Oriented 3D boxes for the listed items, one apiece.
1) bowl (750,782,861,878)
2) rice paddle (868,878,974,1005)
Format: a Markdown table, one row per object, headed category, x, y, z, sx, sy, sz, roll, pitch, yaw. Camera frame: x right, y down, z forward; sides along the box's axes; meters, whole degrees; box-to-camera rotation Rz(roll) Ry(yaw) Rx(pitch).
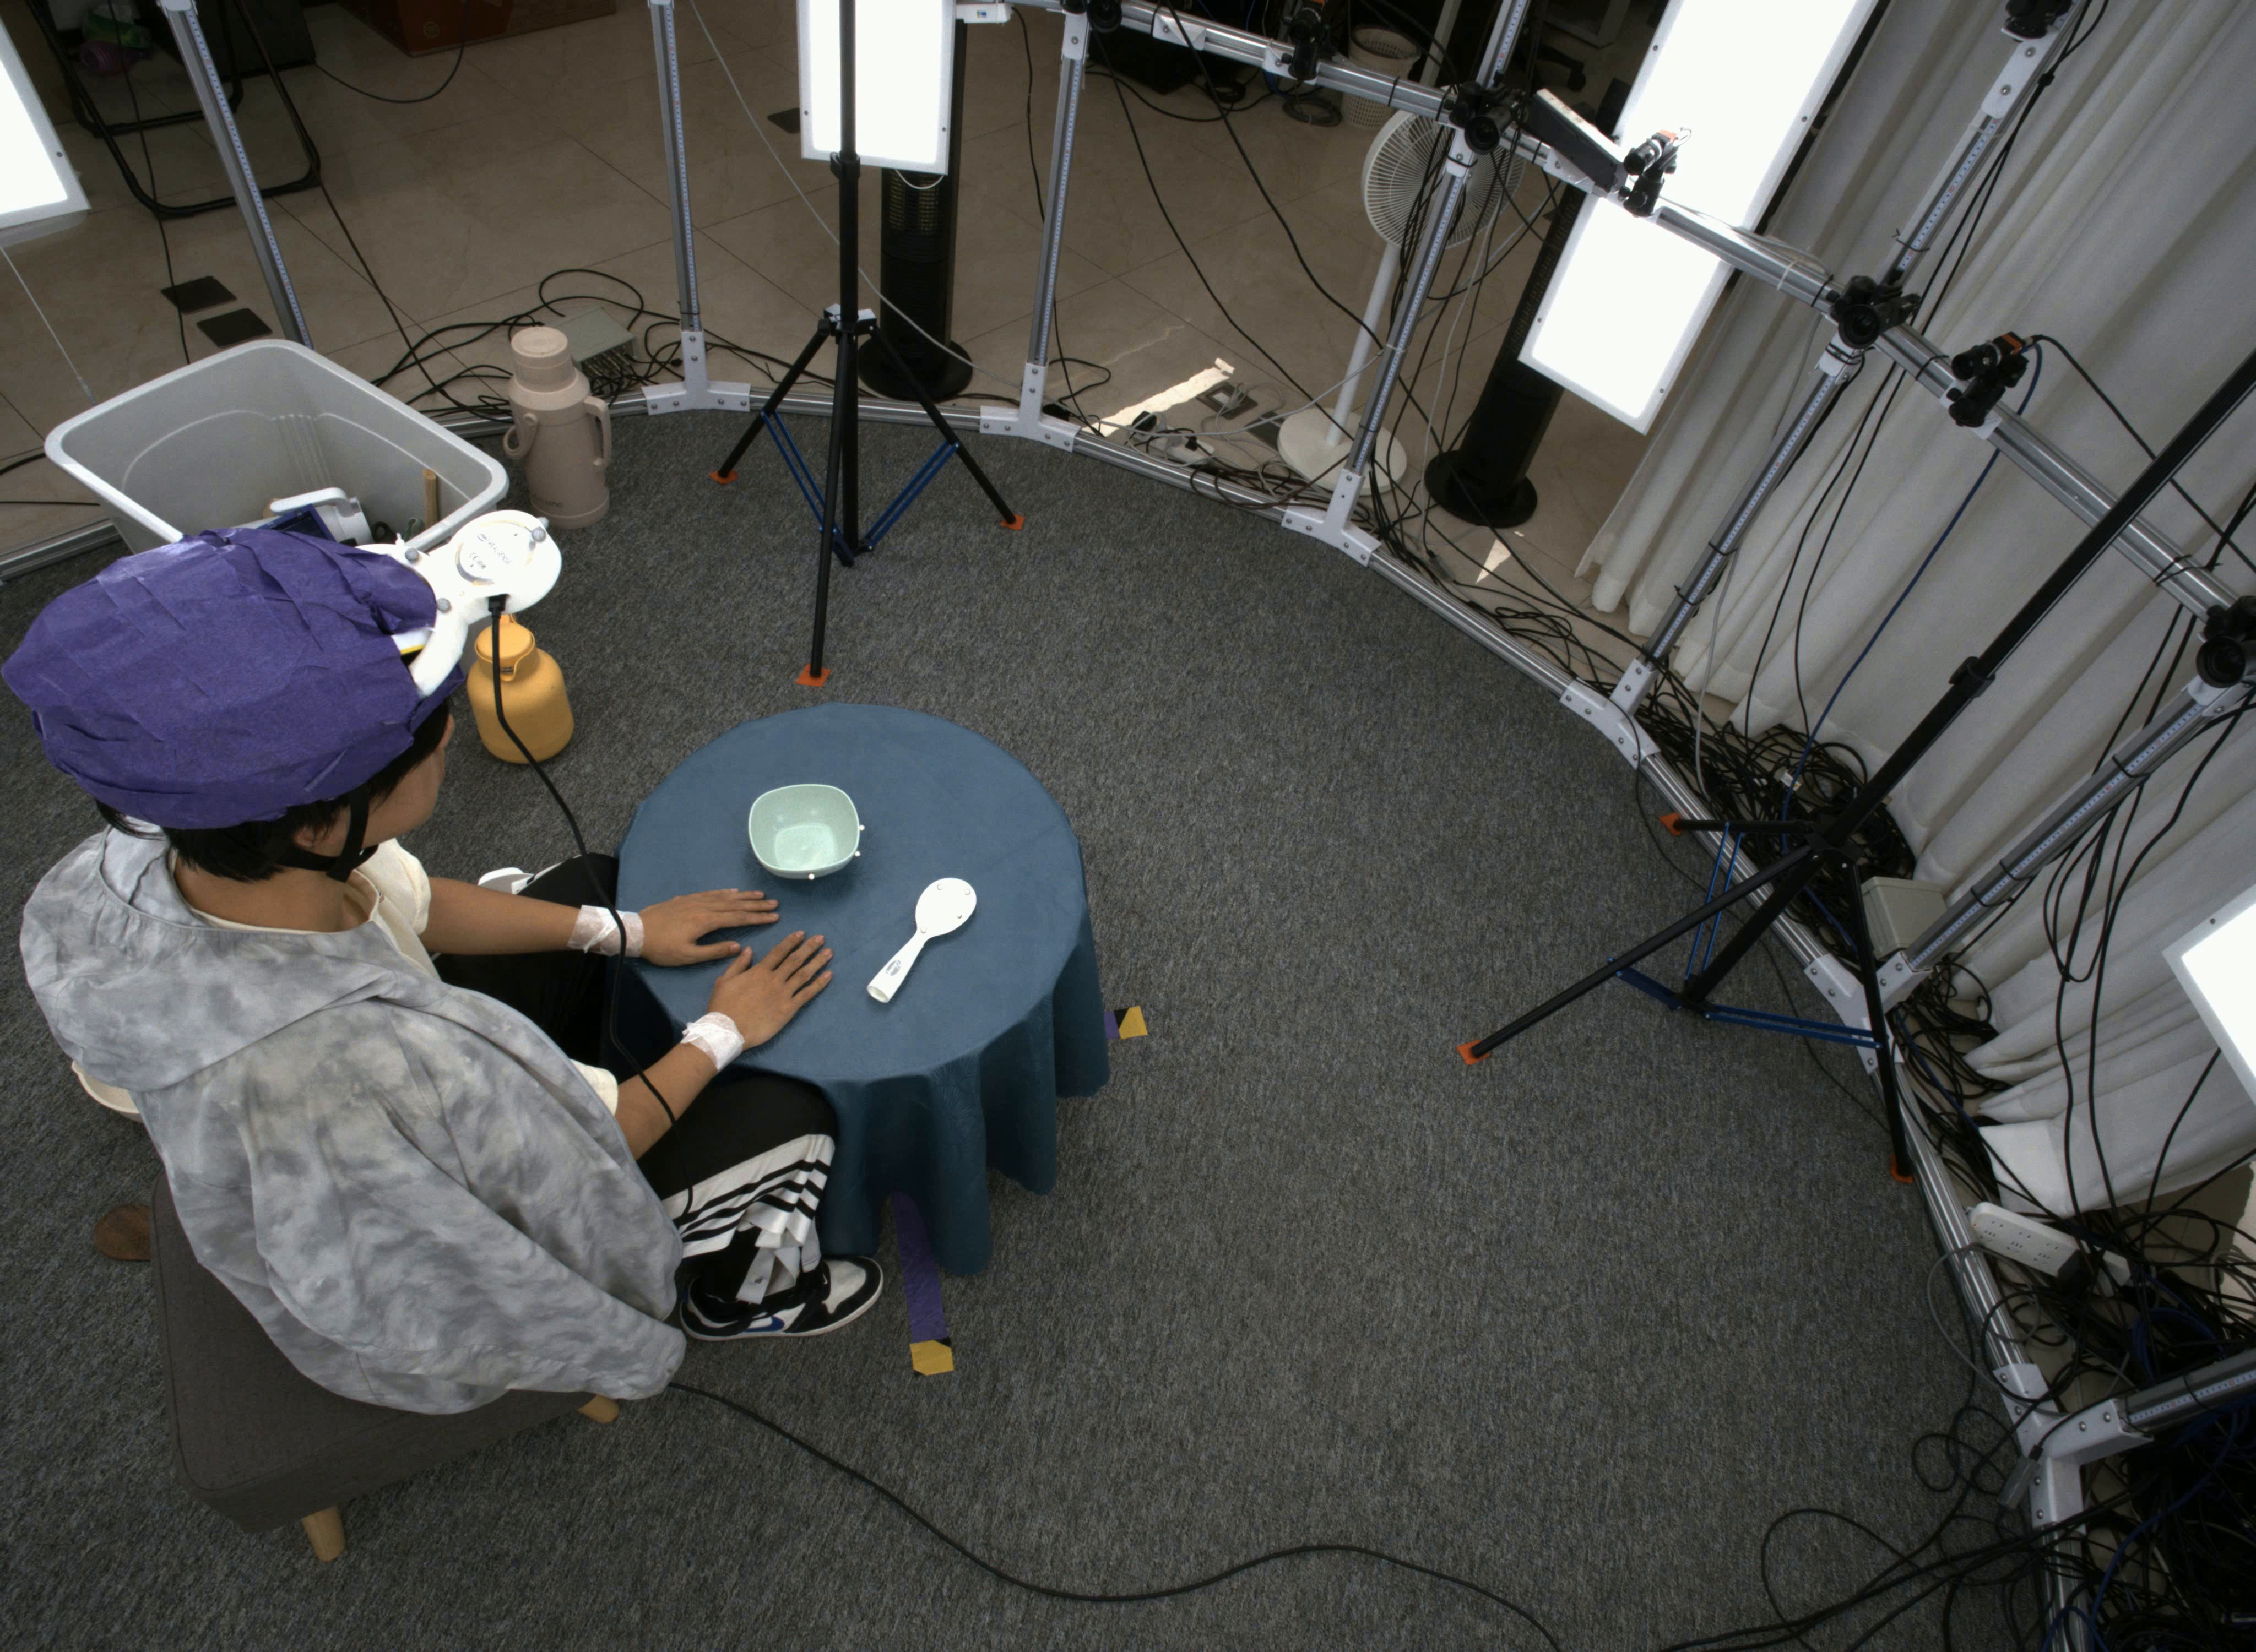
| category | x | y | z | sx | sy | sz | roll | pitch | yaw |
| --- | --- | --- | --- | --- | --- | --- | --- | --- | --- |
| bowl | -0.417 | 0.015 | 1.678 | 0.151 | 0.059 | 0.149 | 9 | 53 | -11 |
| rice paddle | -0.261 | 0.137 | 1.645 | 0.068 | 0.030 | 0.204 | 28 | 53 | 6 |
